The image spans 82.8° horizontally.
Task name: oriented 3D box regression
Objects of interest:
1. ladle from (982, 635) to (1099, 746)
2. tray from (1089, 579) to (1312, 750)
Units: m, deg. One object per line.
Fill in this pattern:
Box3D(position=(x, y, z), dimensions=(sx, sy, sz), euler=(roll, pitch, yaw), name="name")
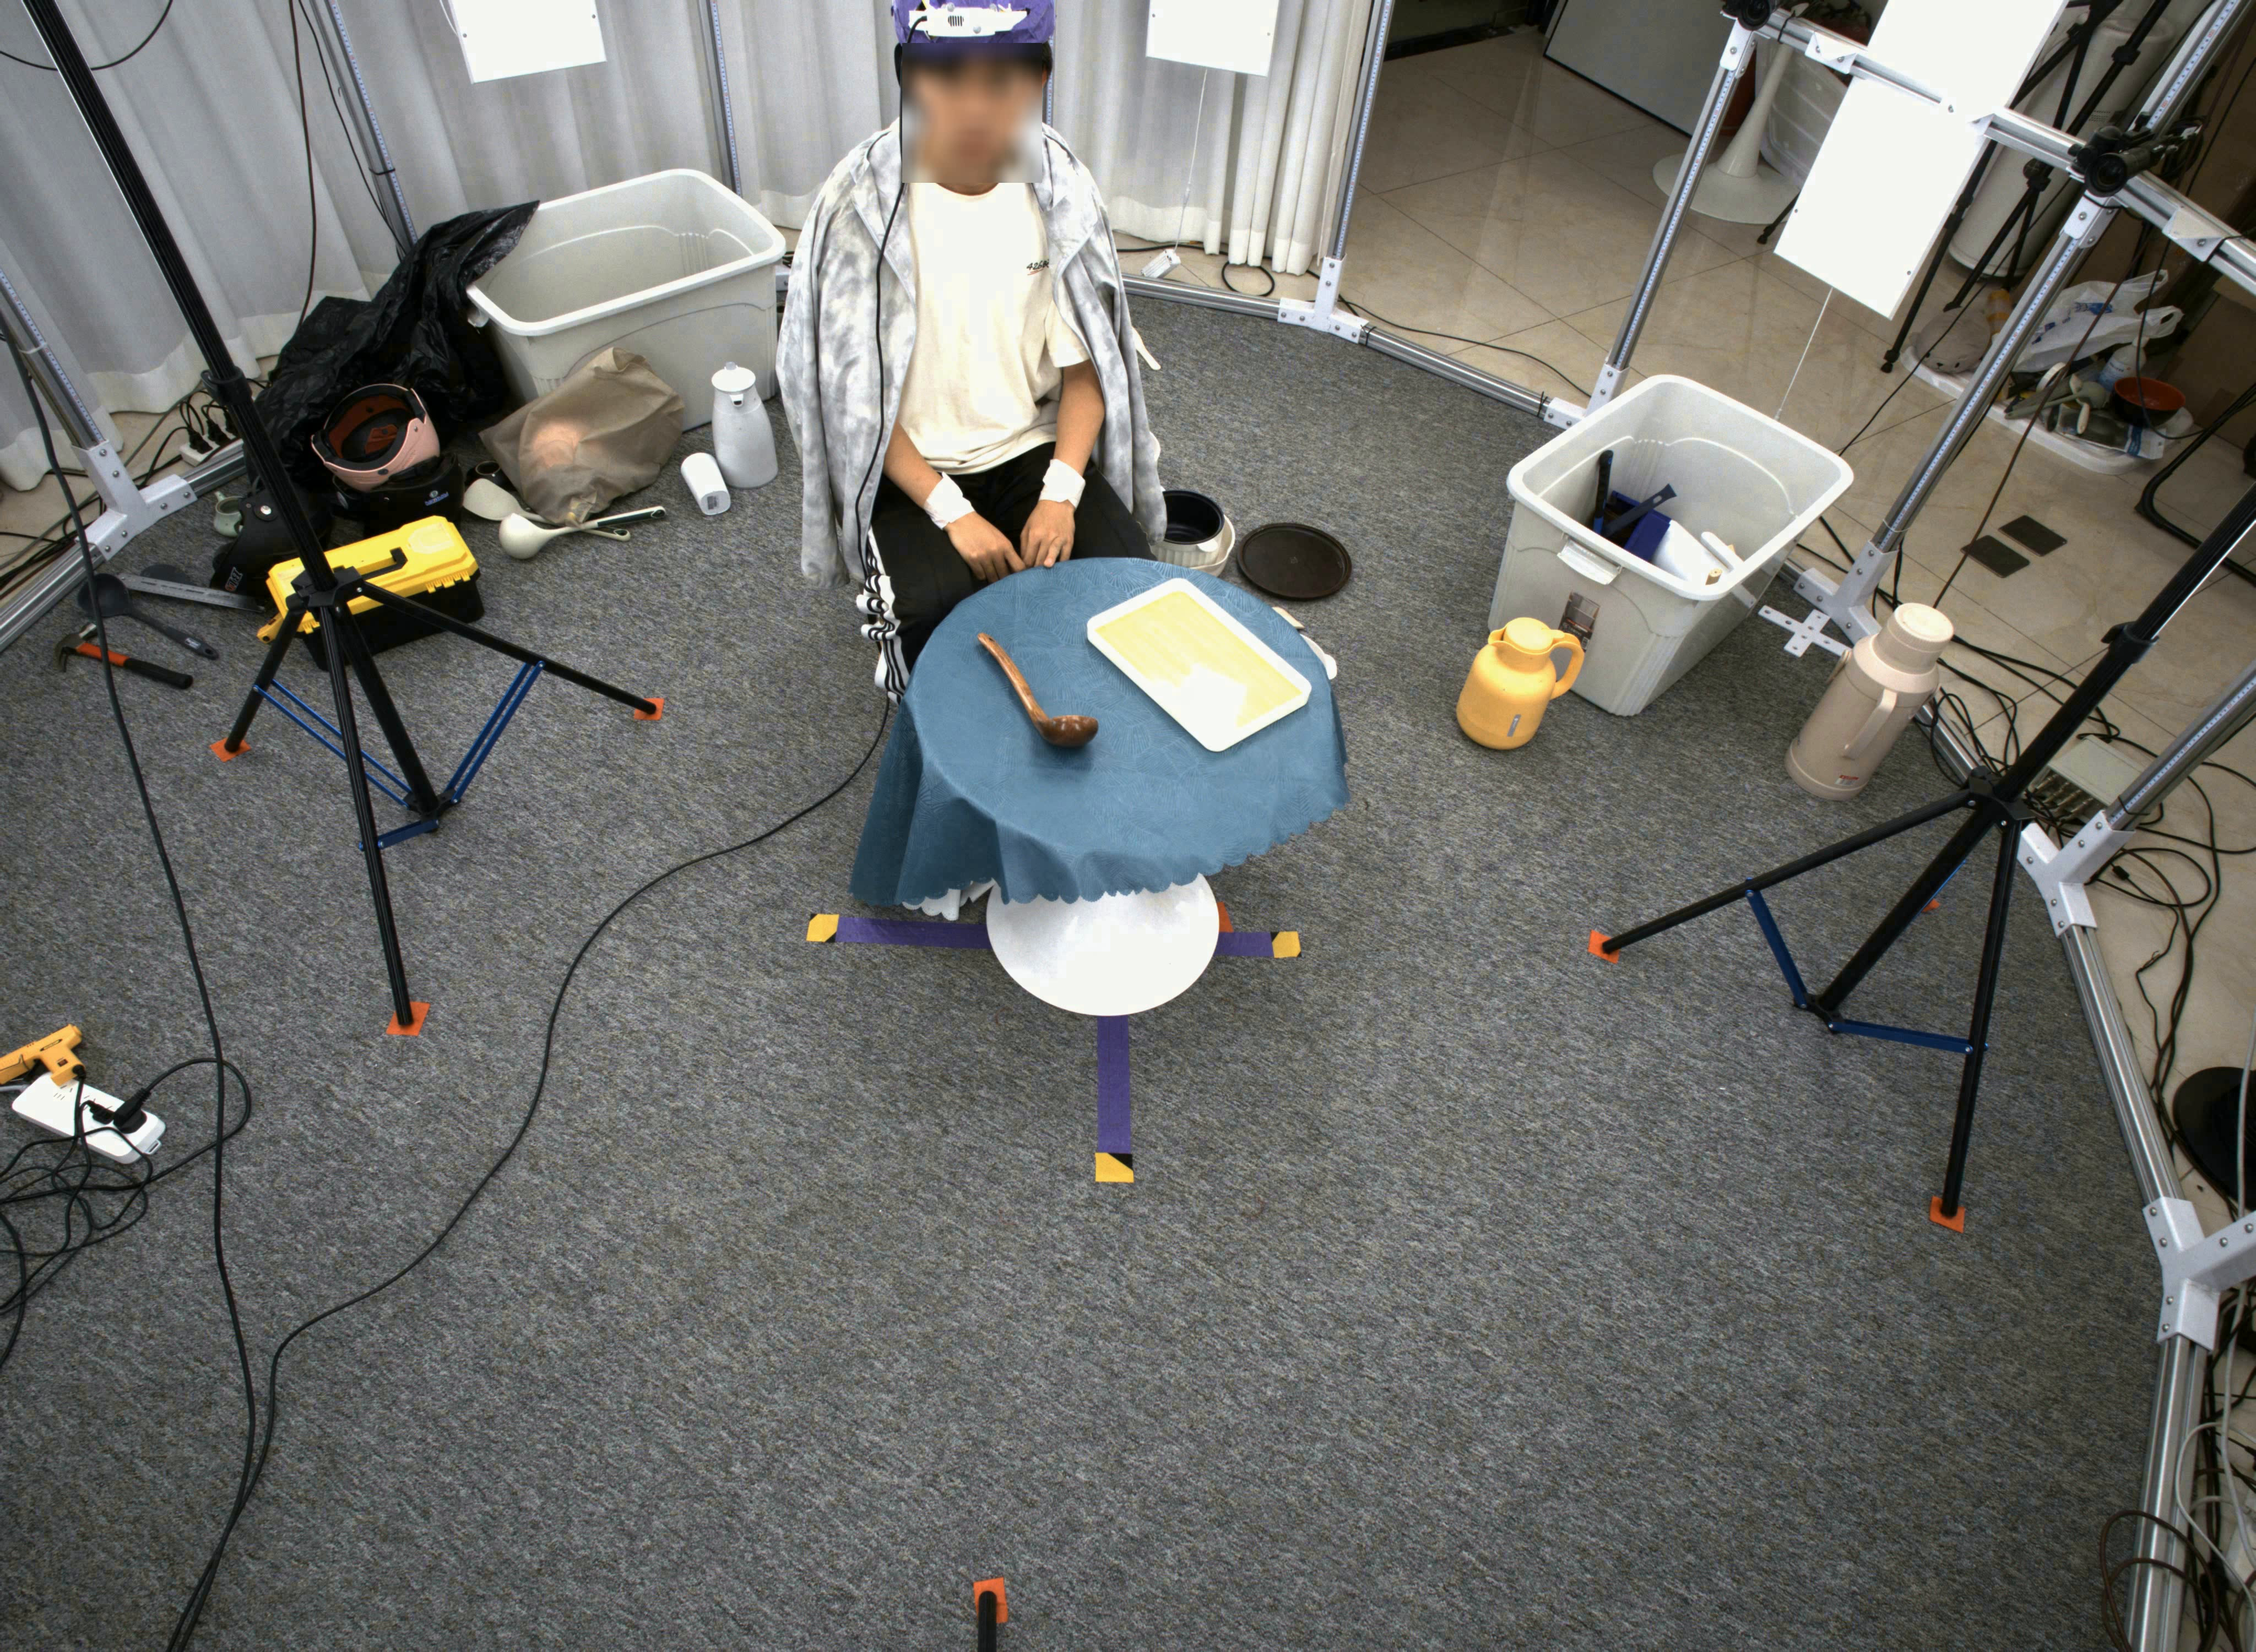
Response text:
Box3D(position=(-0.128, -0.205, 1.785), dimensions=(0.081, 0.076, 0.280), euler=(19, 30, -46), name="ladle")
Box3D(position=(0.101, -0.240, 1.859), dimensions=(0.193, 0.027, 0.306), euler=(-29, 56, -26), name="tray")
